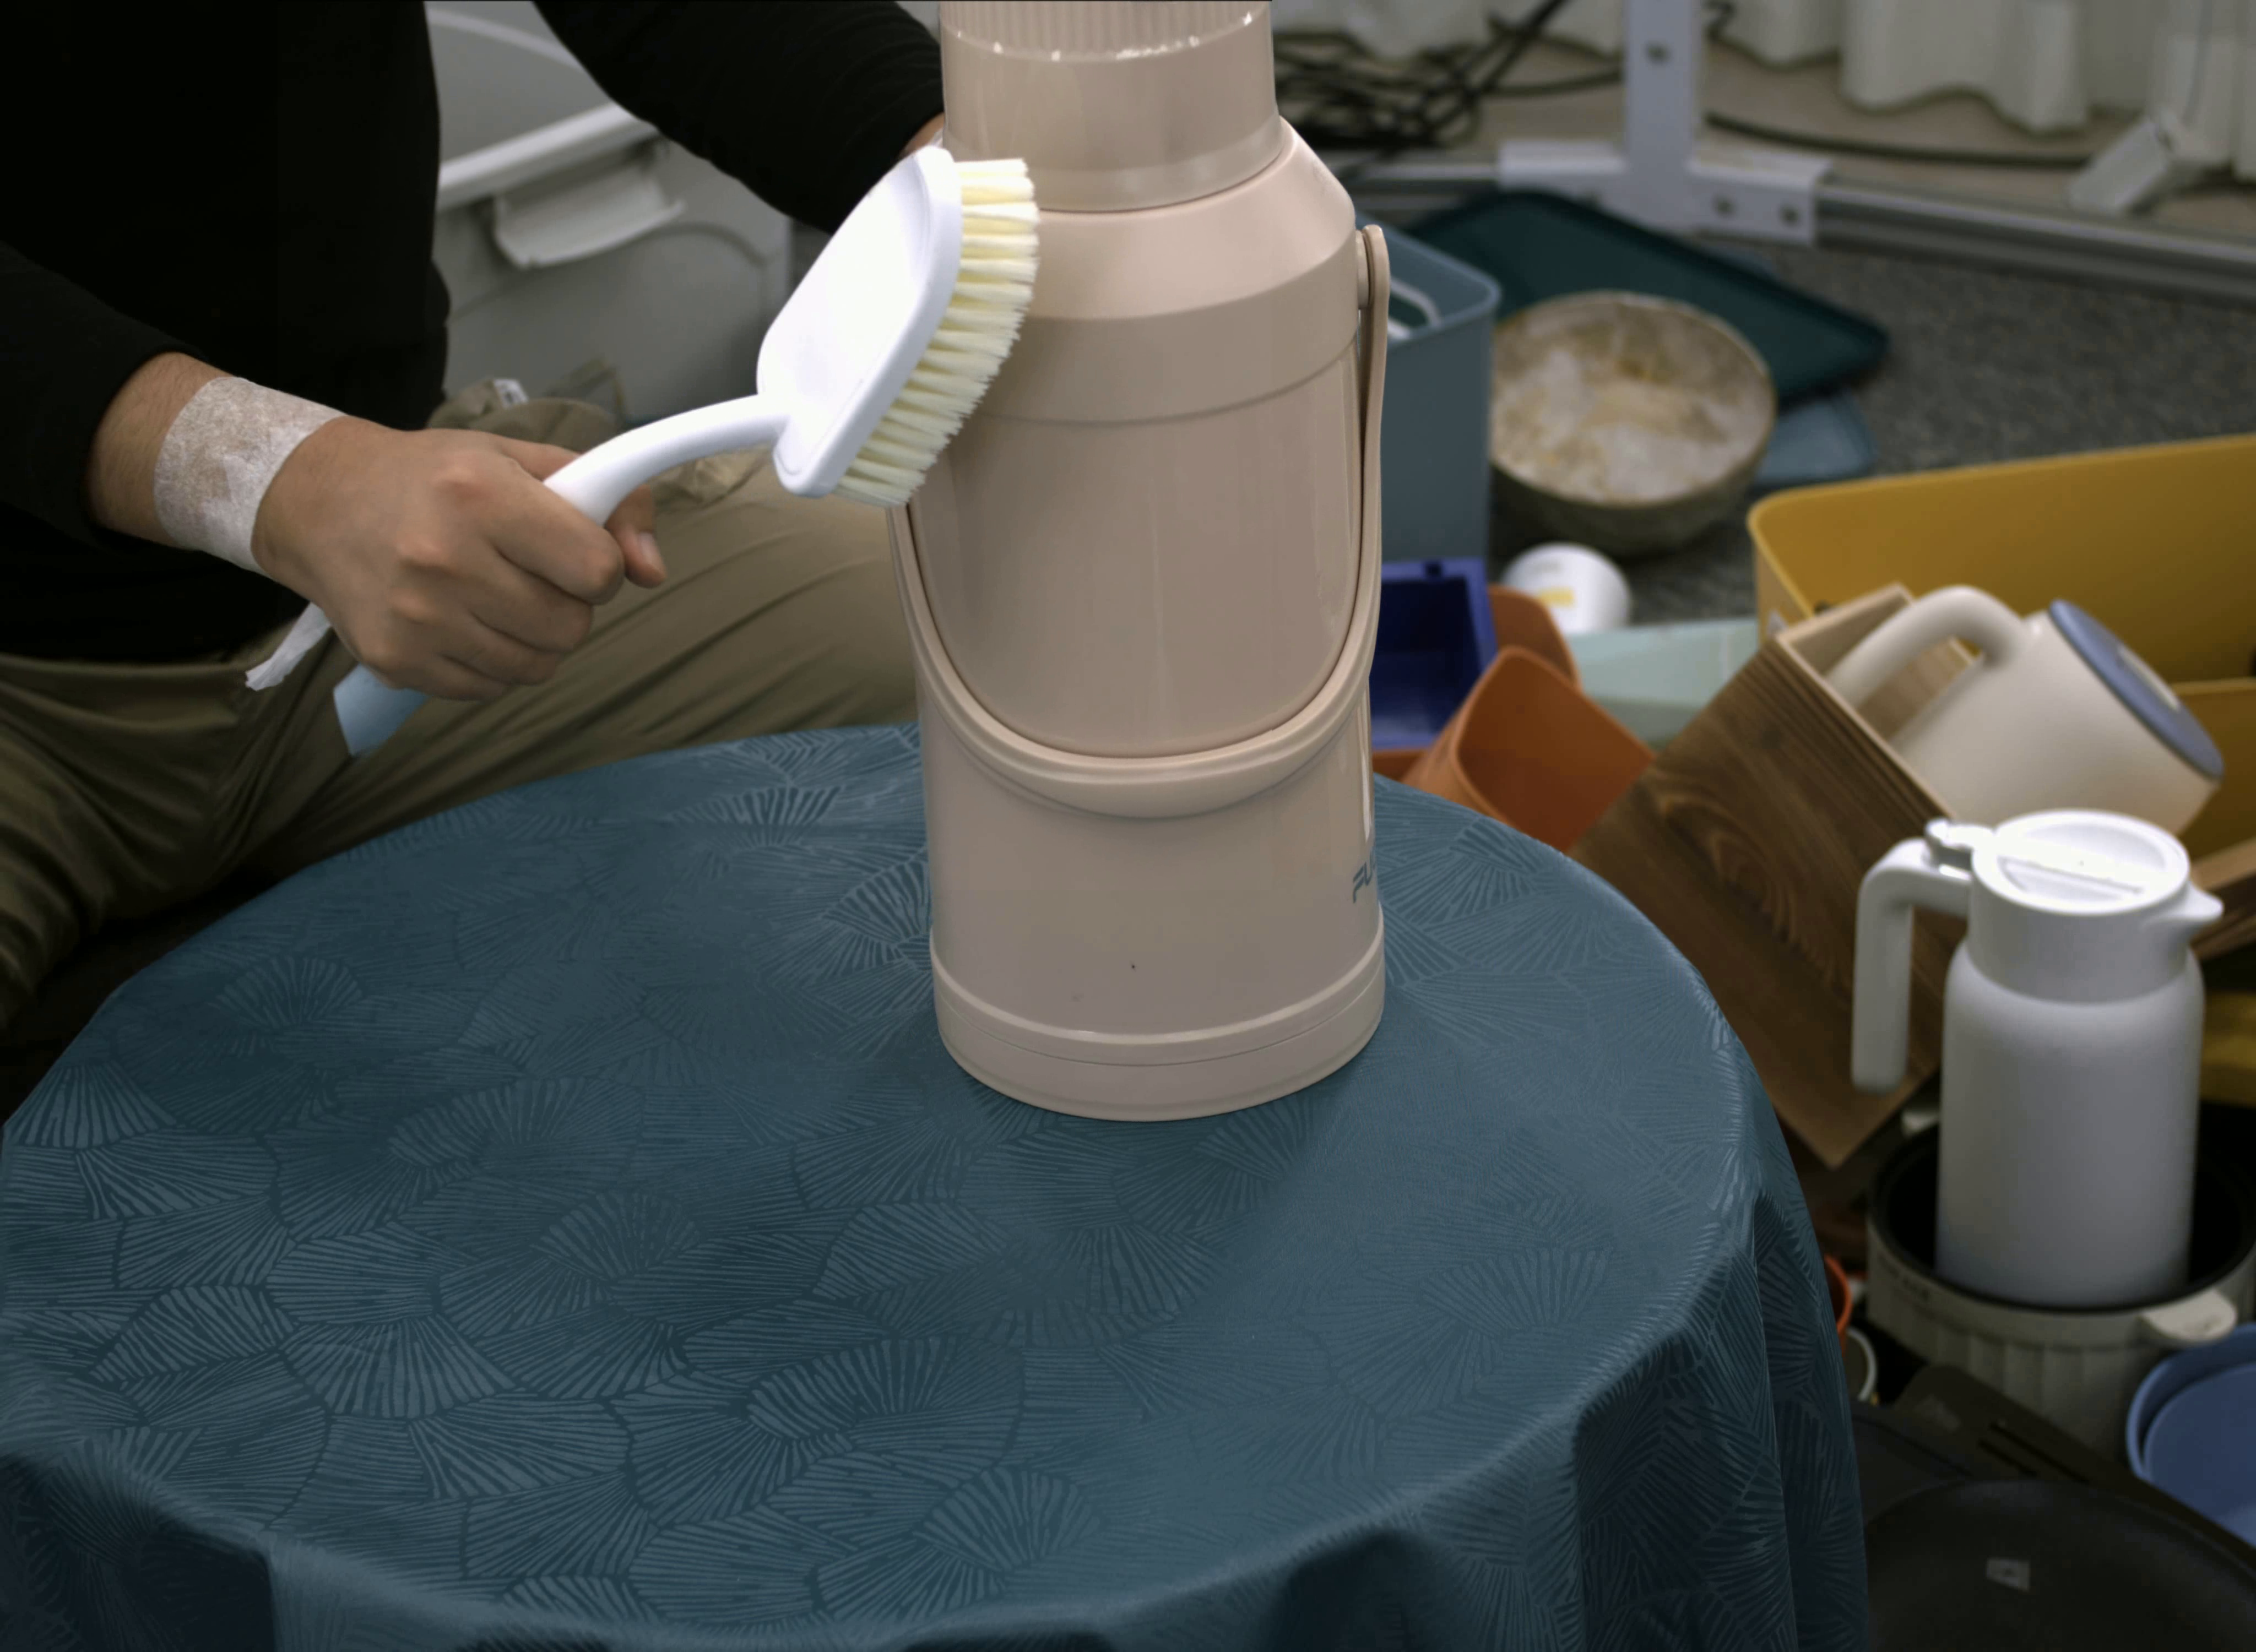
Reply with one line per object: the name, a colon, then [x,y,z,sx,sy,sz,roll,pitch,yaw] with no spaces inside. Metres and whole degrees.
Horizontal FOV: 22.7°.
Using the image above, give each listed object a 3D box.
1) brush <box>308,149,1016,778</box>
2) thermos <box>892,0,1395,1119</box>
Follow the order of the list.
brush: [-0.141,-0.107,1.819,0.320,0.084,0.084,-41,10,29]
thermos: [0.003,-0.119,1.899,0.175,0.402,0.210,-7,27,-5]
